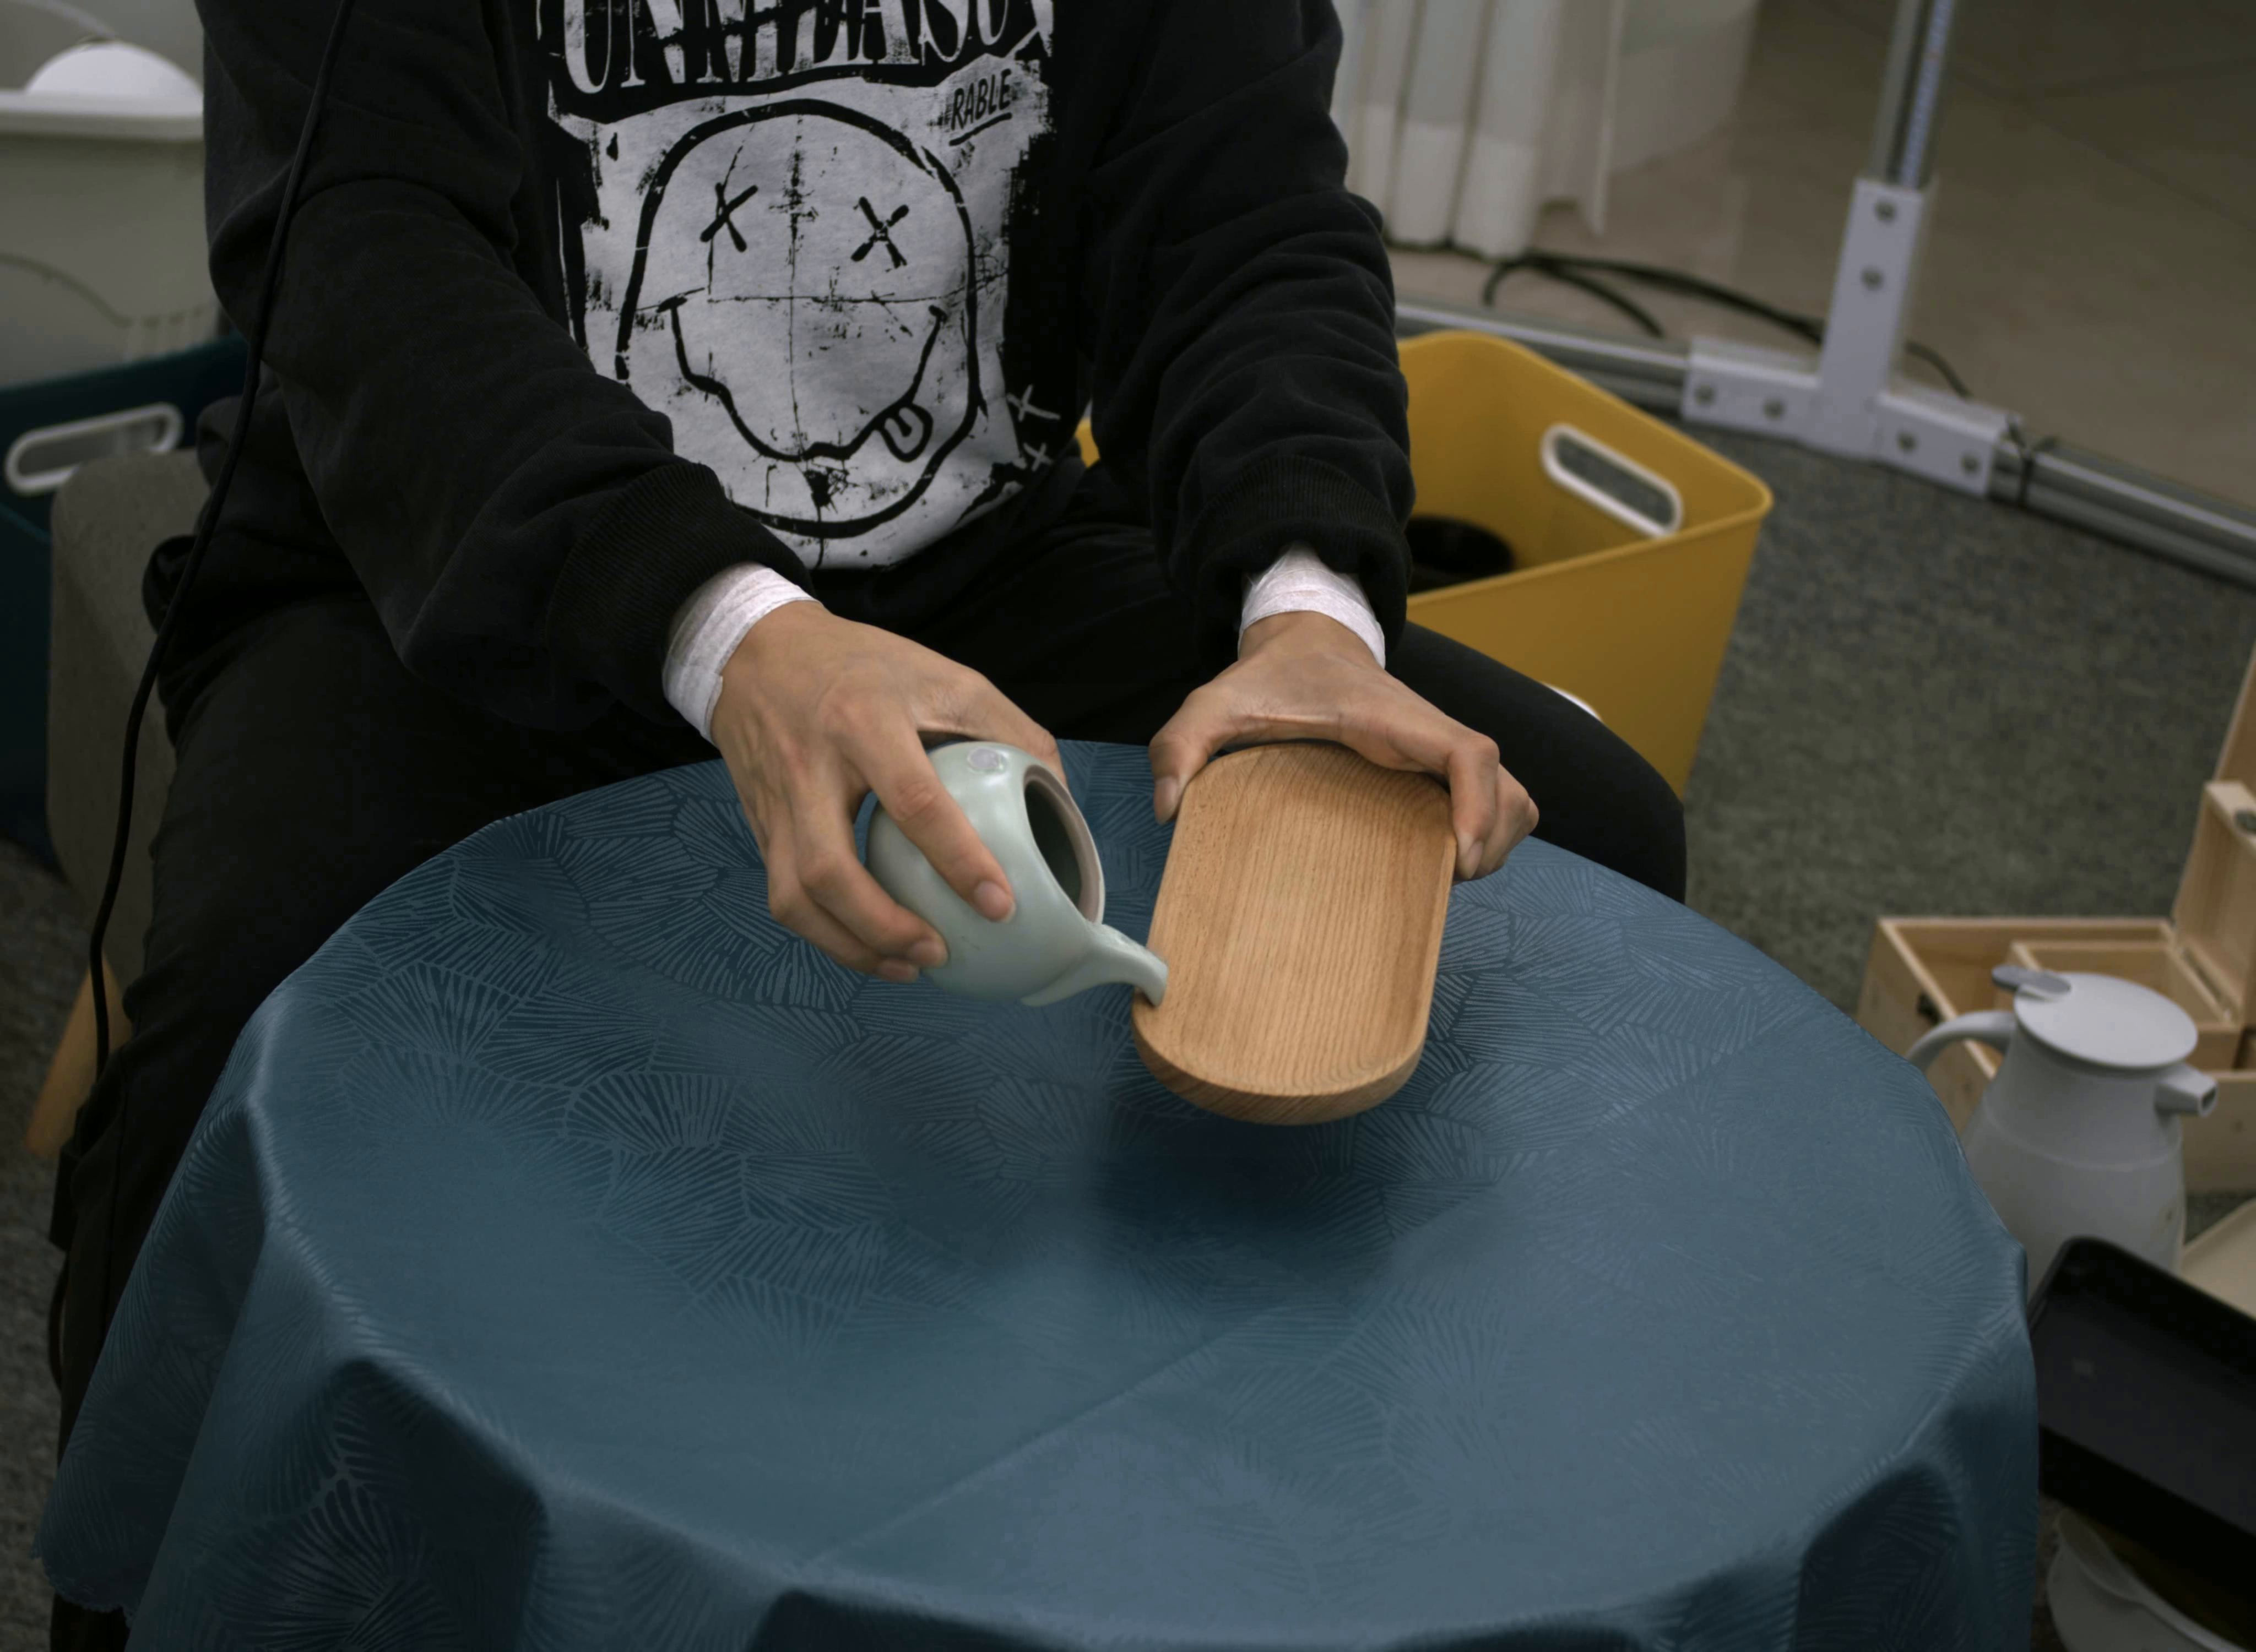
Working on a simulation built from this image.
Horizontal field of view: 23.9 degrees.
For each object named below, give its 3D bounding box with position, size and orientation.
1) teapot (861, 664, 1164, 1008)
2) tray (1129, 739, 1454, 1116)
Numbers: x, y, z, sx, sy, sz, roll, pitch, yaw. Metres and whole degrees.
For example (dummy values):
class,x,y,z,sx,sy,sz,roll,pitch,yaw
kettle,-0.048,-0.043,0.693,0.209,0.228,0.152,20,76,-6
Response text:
class,x,y,z,sx,sy,sz,roll,pitch,yaw
teapot,-0.048,0.014,1.785,0.075,0.143,0.089,-22,23,16
tray,0.059,0.033,1.861,0.101,0.020,0.232,7,30,4
